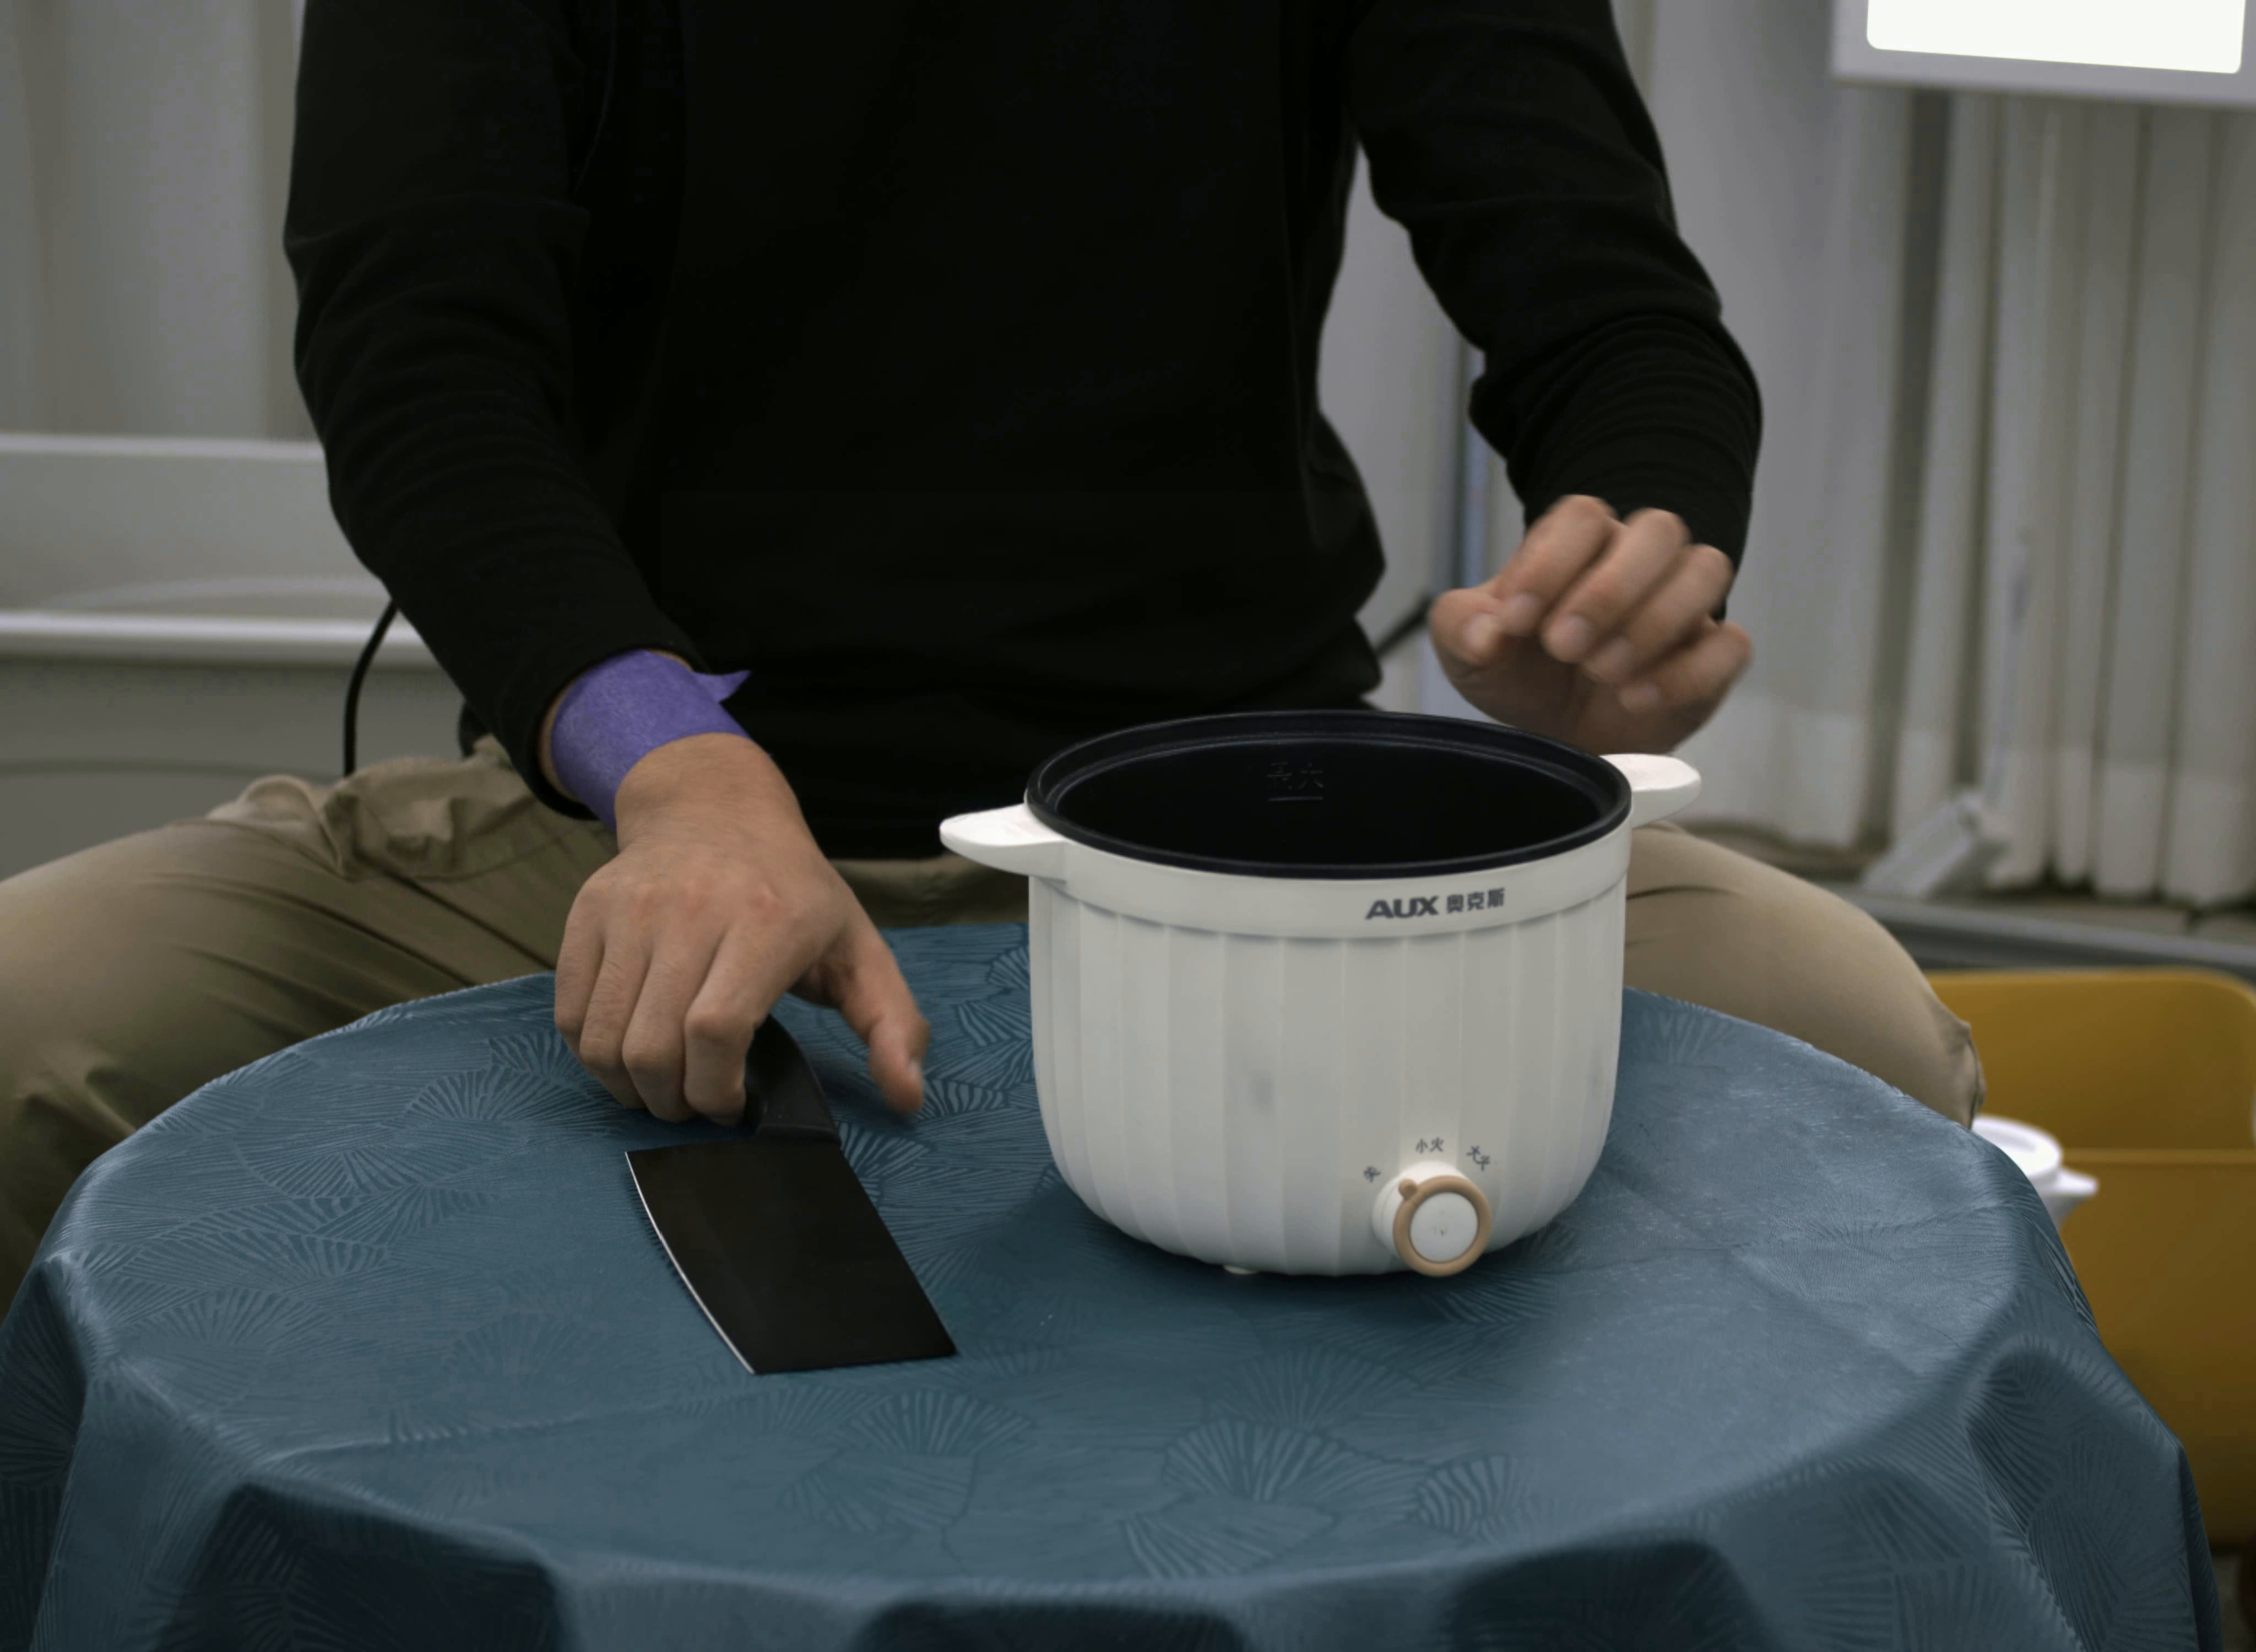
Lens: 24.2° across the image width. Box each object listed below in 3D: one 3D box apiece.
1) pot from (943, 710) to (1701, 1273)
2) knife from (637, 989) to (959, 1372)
[{"bbox_3d":[0.063,0.052,1.581,0.241,0.144,0.188,-6,14,-18],"label":"pot"},{"bbox_3d":[-0.111,0.107,1.613,0.081,0.021,0.299,-2,18,-10],"label":"knife"}]
